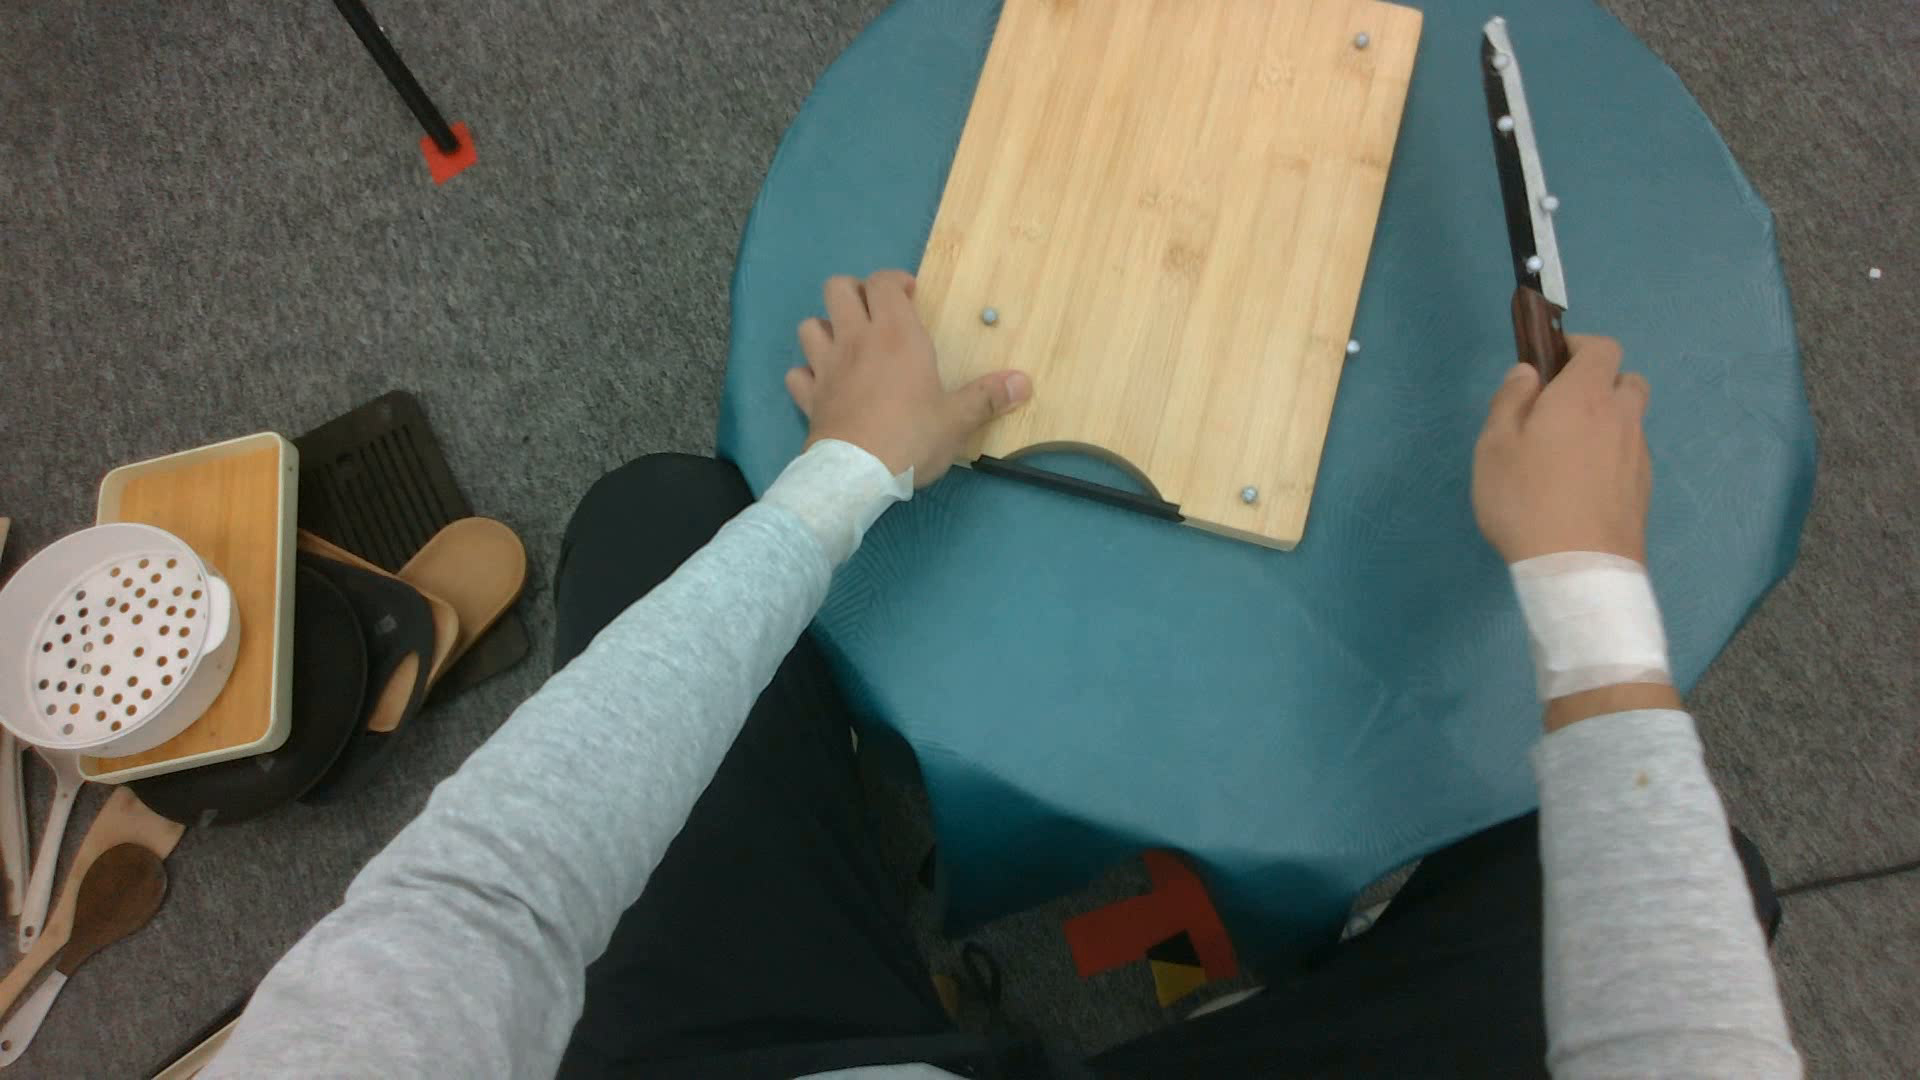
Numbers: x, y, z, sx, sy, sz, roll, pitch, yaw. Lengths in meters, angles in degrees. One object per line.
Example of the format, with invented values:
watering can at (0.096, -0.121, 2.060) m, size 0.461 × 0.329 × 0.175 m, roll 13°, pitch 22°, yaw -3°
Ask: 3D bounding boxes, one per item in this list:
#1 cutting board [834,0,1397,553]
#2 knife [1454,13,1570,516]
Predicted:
cutting board at (0.096, -0.184, 0.787) m, size 0.250 × 0.023 × 0.349 m, roll 14°, pitch 74°, yaw 5°
knife at (0.283, -0.150, 0.714) m, size 0.050 × 0.020 × 0.290 m, roll 11°, pitch 70°, yaw -37°
